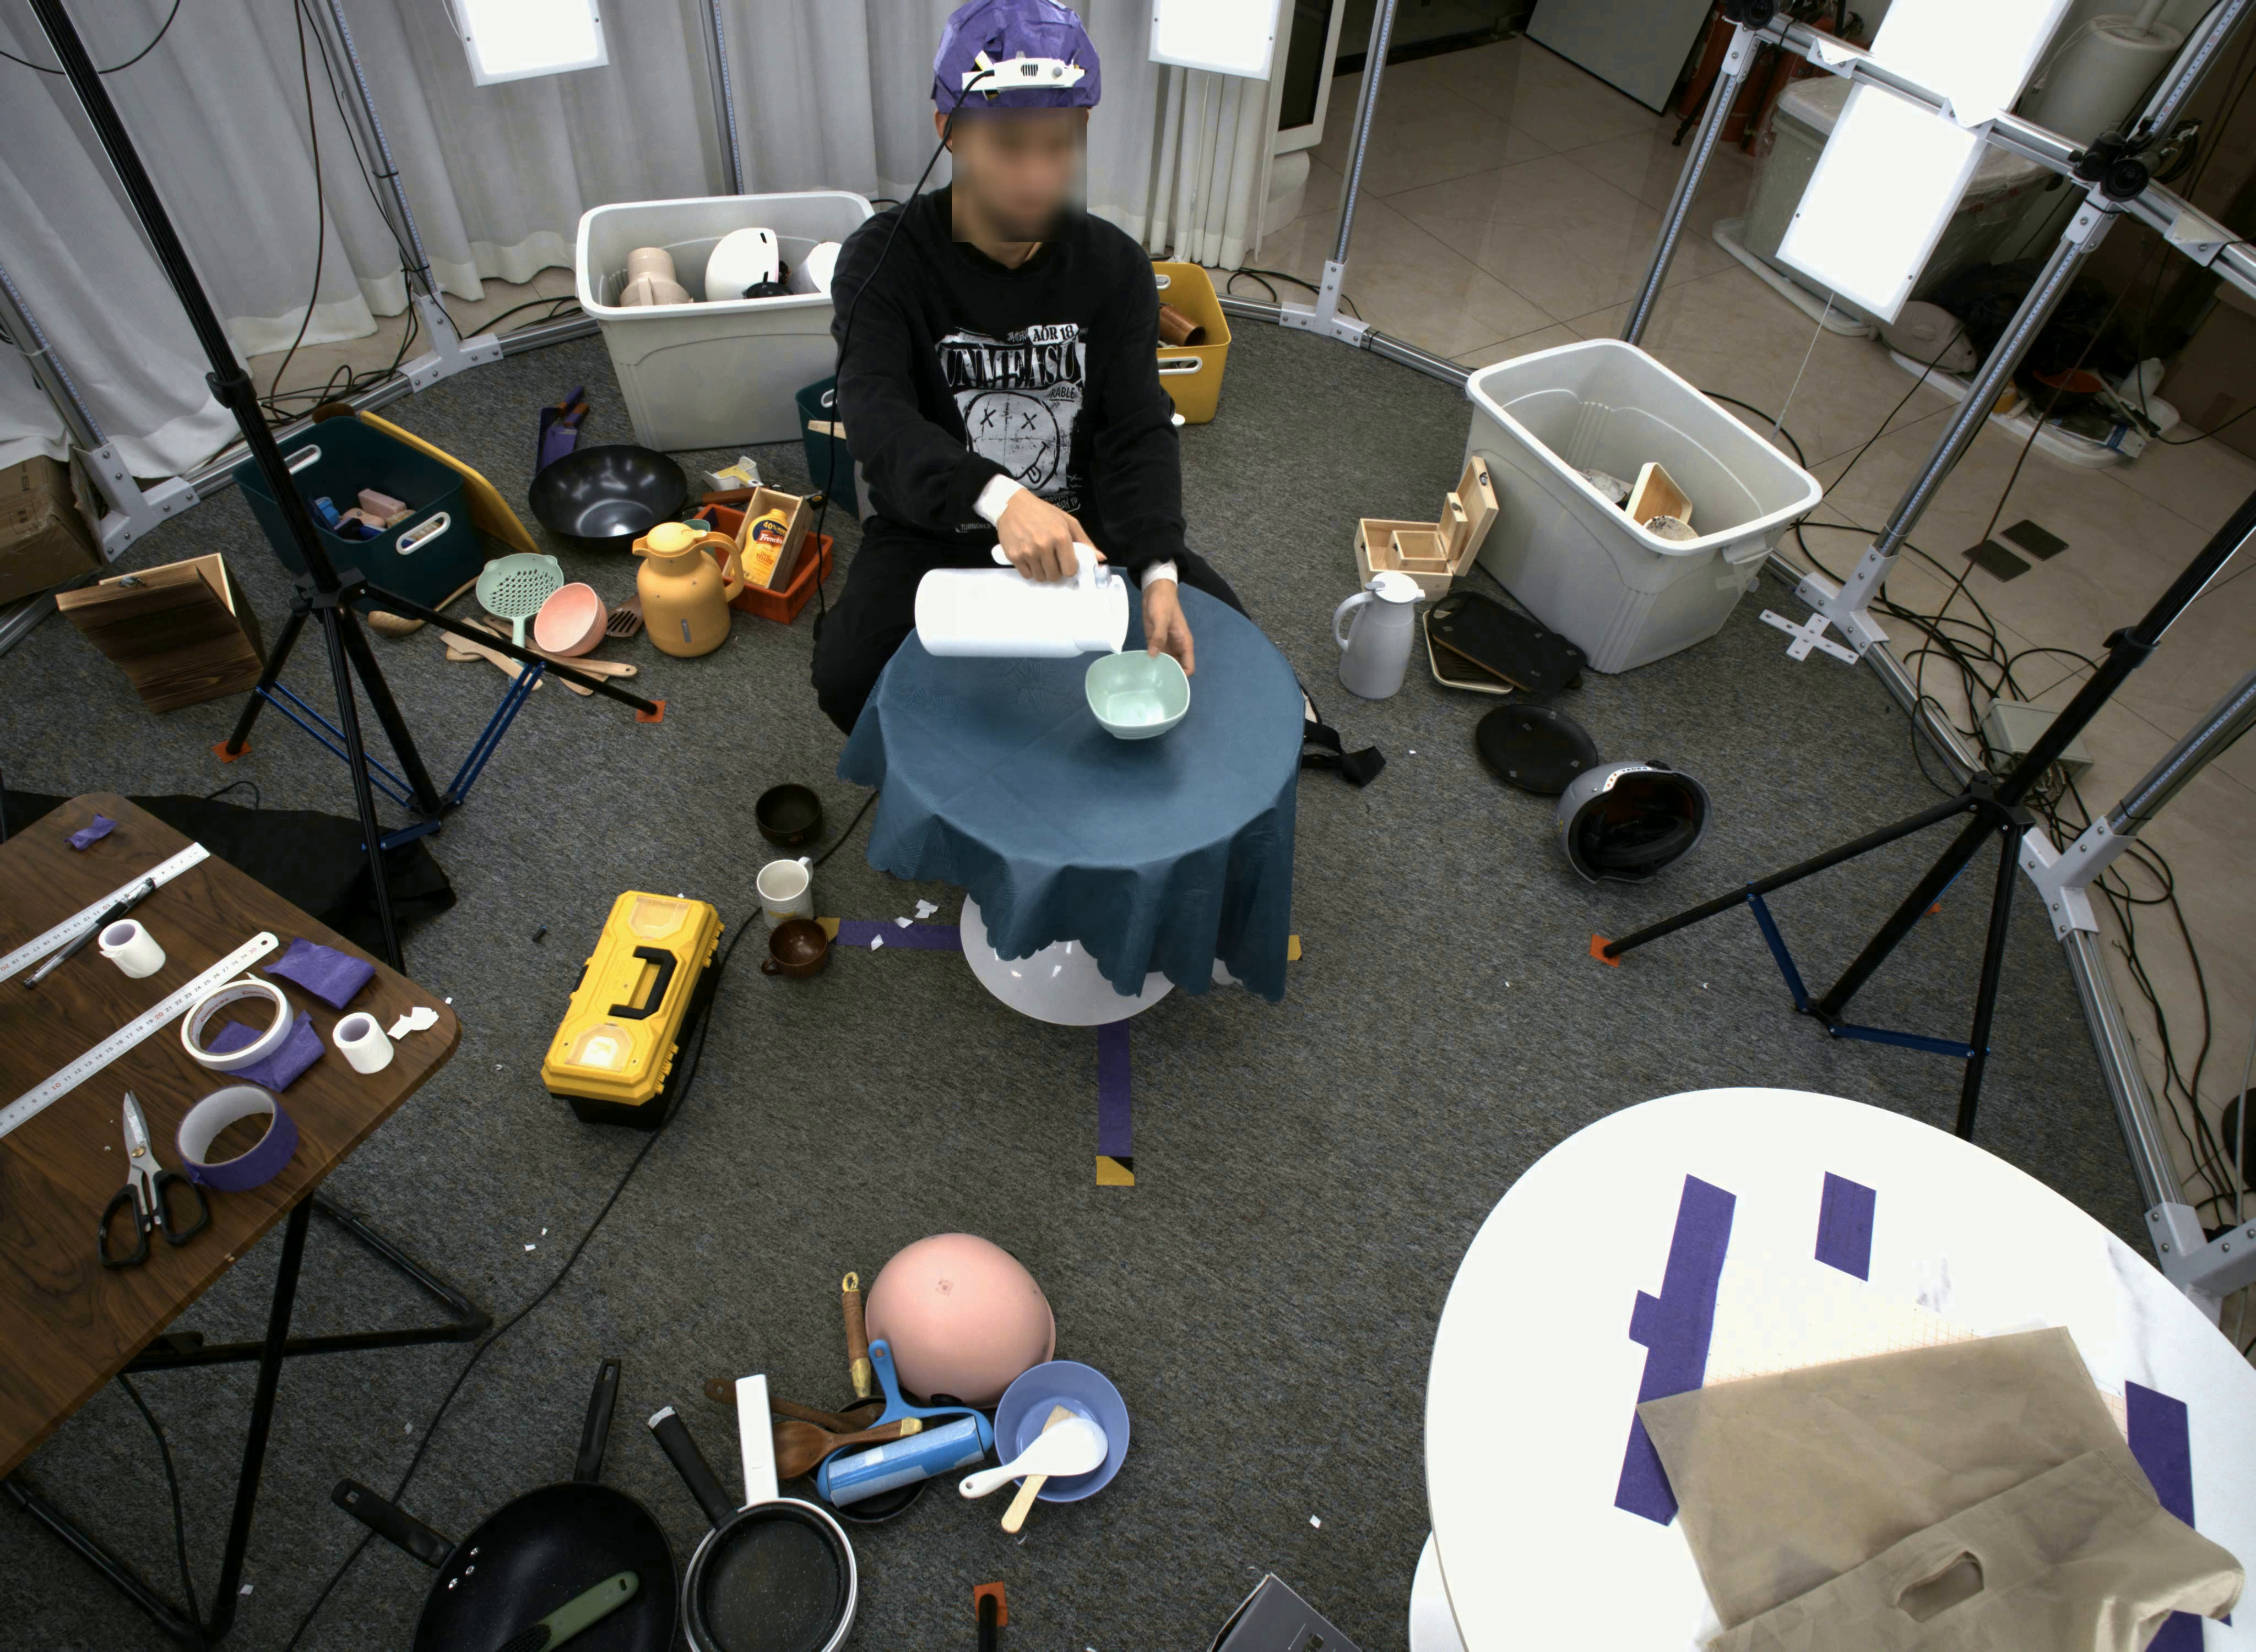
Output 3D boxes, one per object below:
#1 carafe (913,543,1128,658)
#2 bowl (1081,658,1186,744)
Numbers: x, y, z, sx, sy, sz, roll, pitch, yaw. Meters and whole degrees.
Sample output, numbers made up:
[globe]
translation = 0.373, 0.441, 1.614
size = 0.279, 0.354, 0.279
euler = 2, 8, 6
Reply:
[carafe]
translation = -0.144, -0.292, 1.685
size = 0.270, 0.168, 0.126
euler = 4, 50, 19
[bowl]
translation = 0.008, -0.161, 1.740
size = 0.151, 0.057, 0.155
euler = -1, 46, 1
